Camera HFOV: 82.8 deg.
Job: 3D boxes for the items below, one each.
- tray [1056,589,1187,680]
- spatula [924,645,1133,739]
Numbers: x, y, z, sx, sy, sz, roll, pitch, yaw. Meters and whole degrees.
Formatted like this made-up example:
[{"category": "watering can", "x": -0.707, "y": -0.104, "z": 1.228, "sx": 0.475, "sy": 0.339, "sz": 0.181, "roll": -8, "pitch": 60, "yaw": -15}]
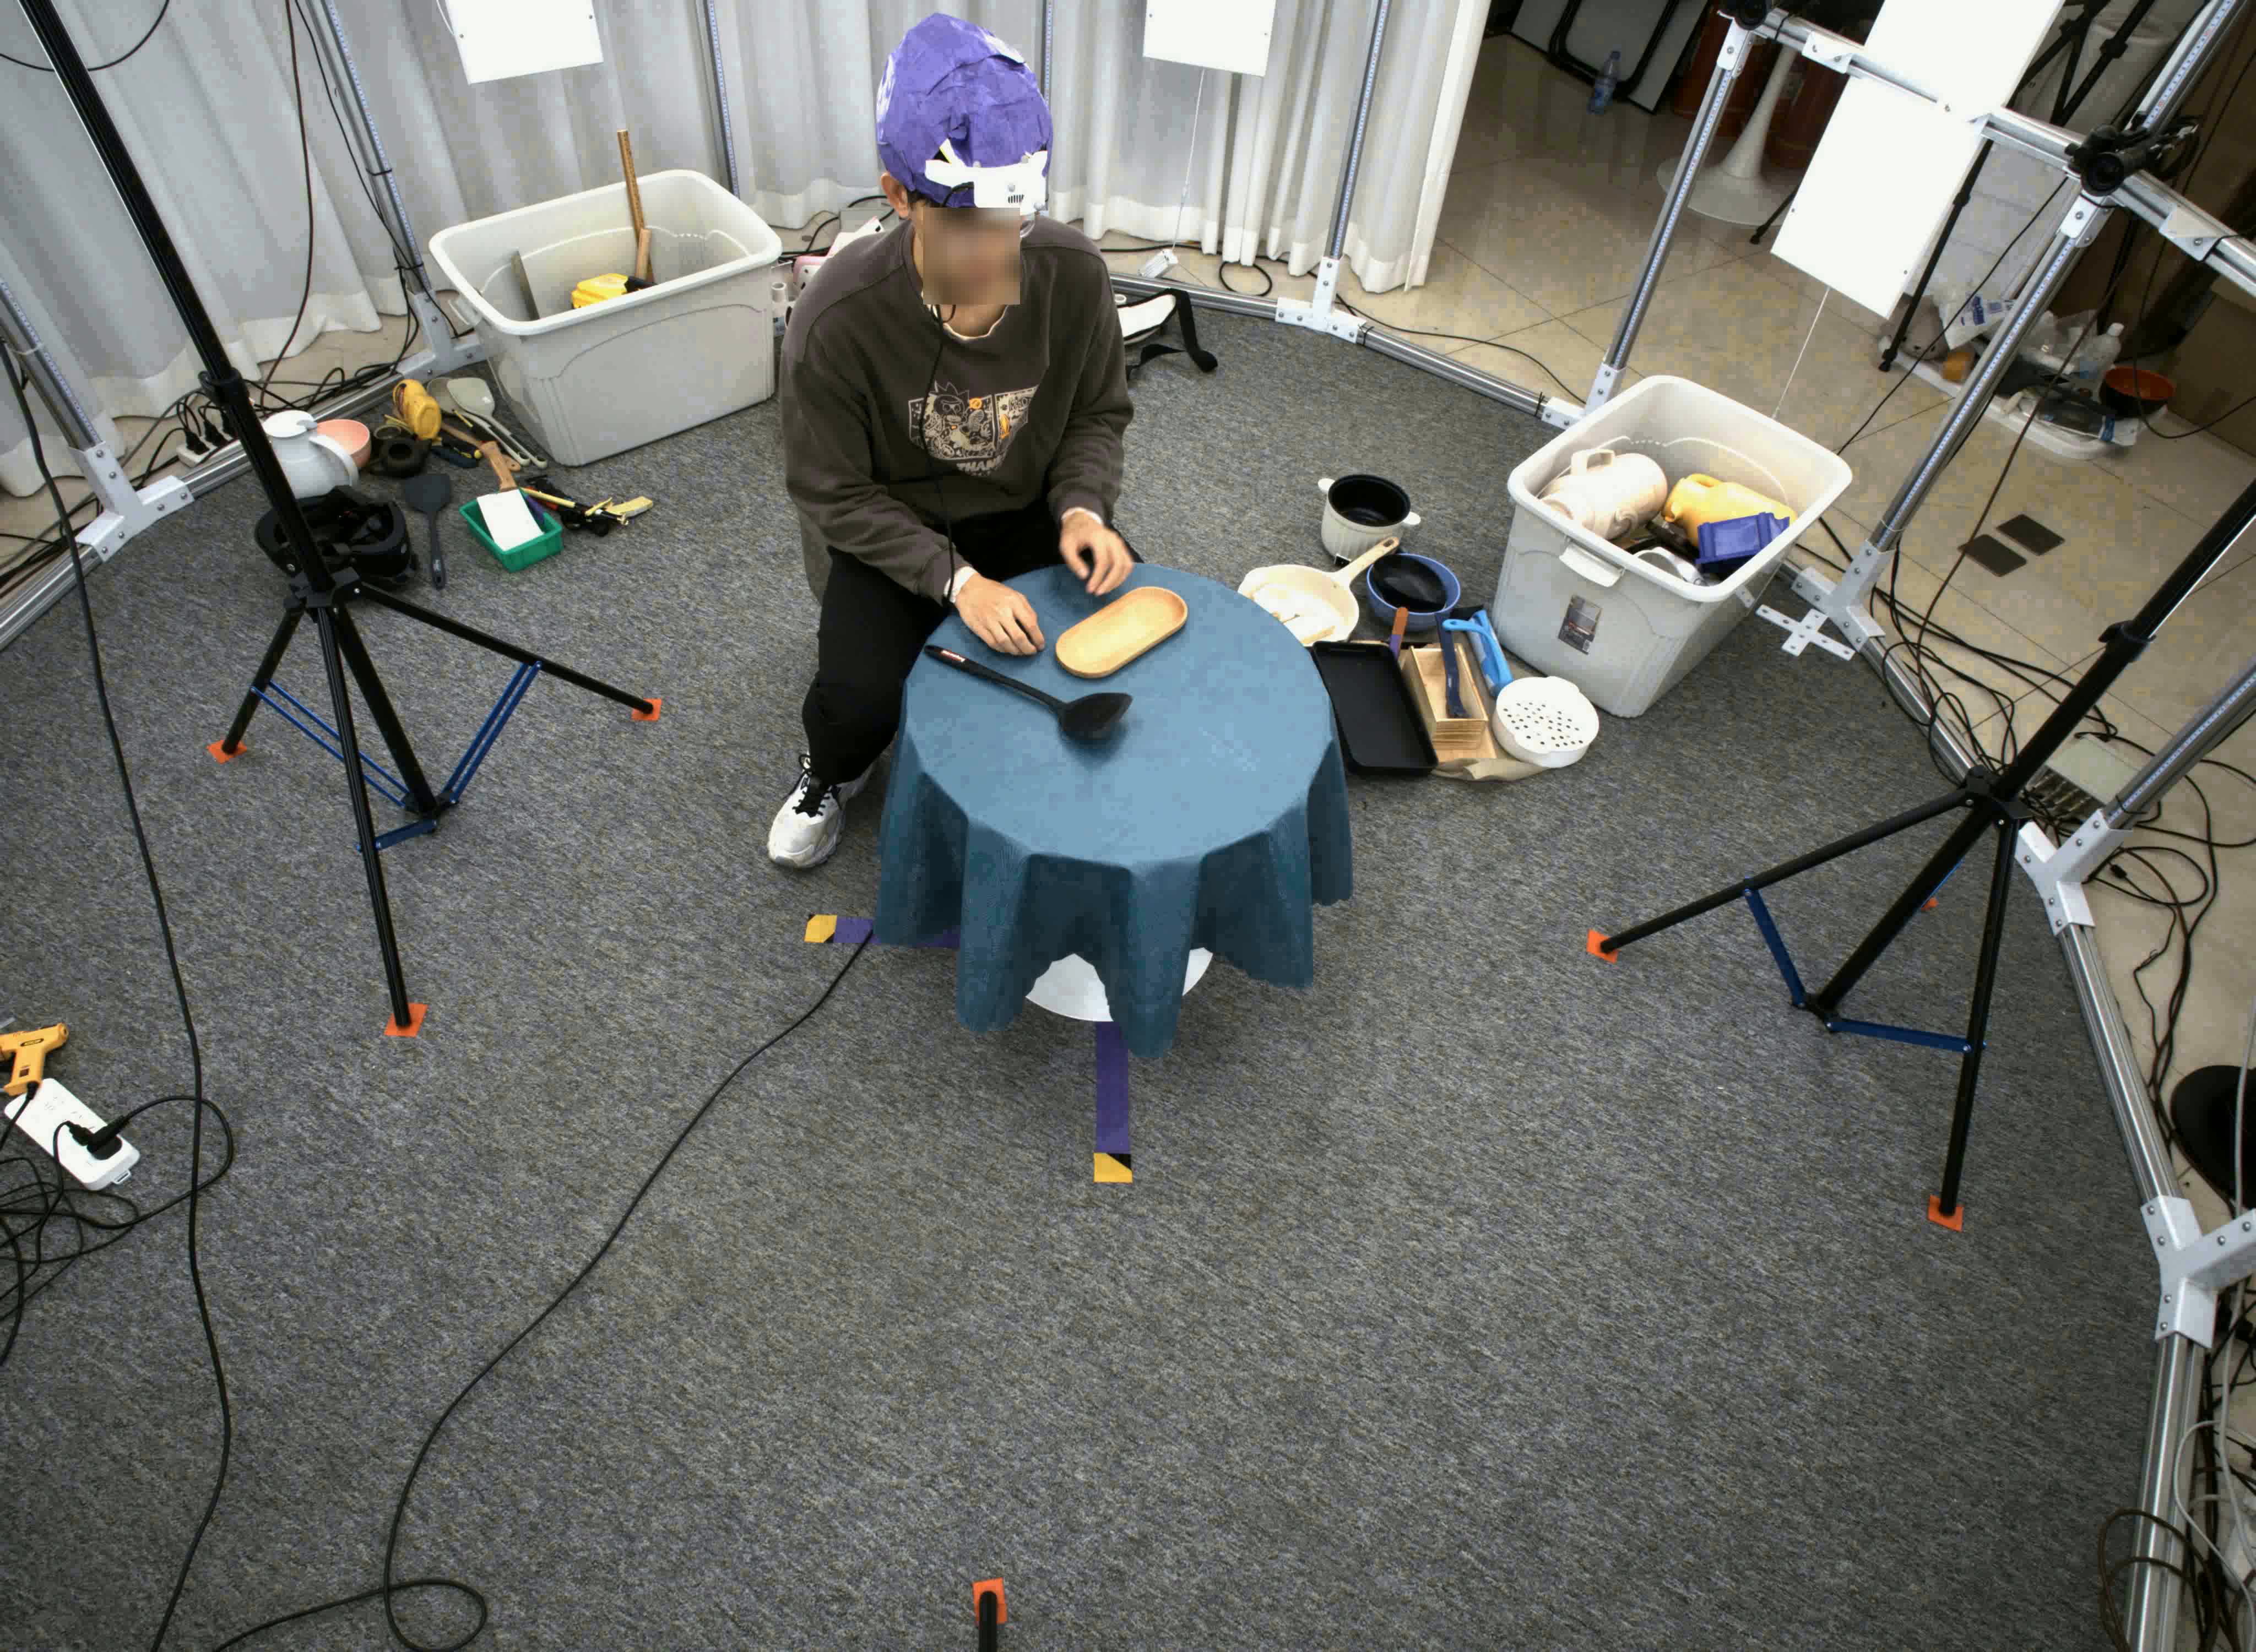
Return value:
[{"category": "tray", "x": -0.008, "y": -0.285, "z": 1.903, "sx": 0.233, "sy": 0.020, "sz": 0.103, "roll": -36, "pitch": 60, "yaw": -28}, {"category": "spatula", "x": -0.151, "y": -0.201, "z": 1.807, "sx": 0.329, "sy": 0.039, "sz": 0.101, "roll": 26, "pitch": 51, "yaw": 18}]
